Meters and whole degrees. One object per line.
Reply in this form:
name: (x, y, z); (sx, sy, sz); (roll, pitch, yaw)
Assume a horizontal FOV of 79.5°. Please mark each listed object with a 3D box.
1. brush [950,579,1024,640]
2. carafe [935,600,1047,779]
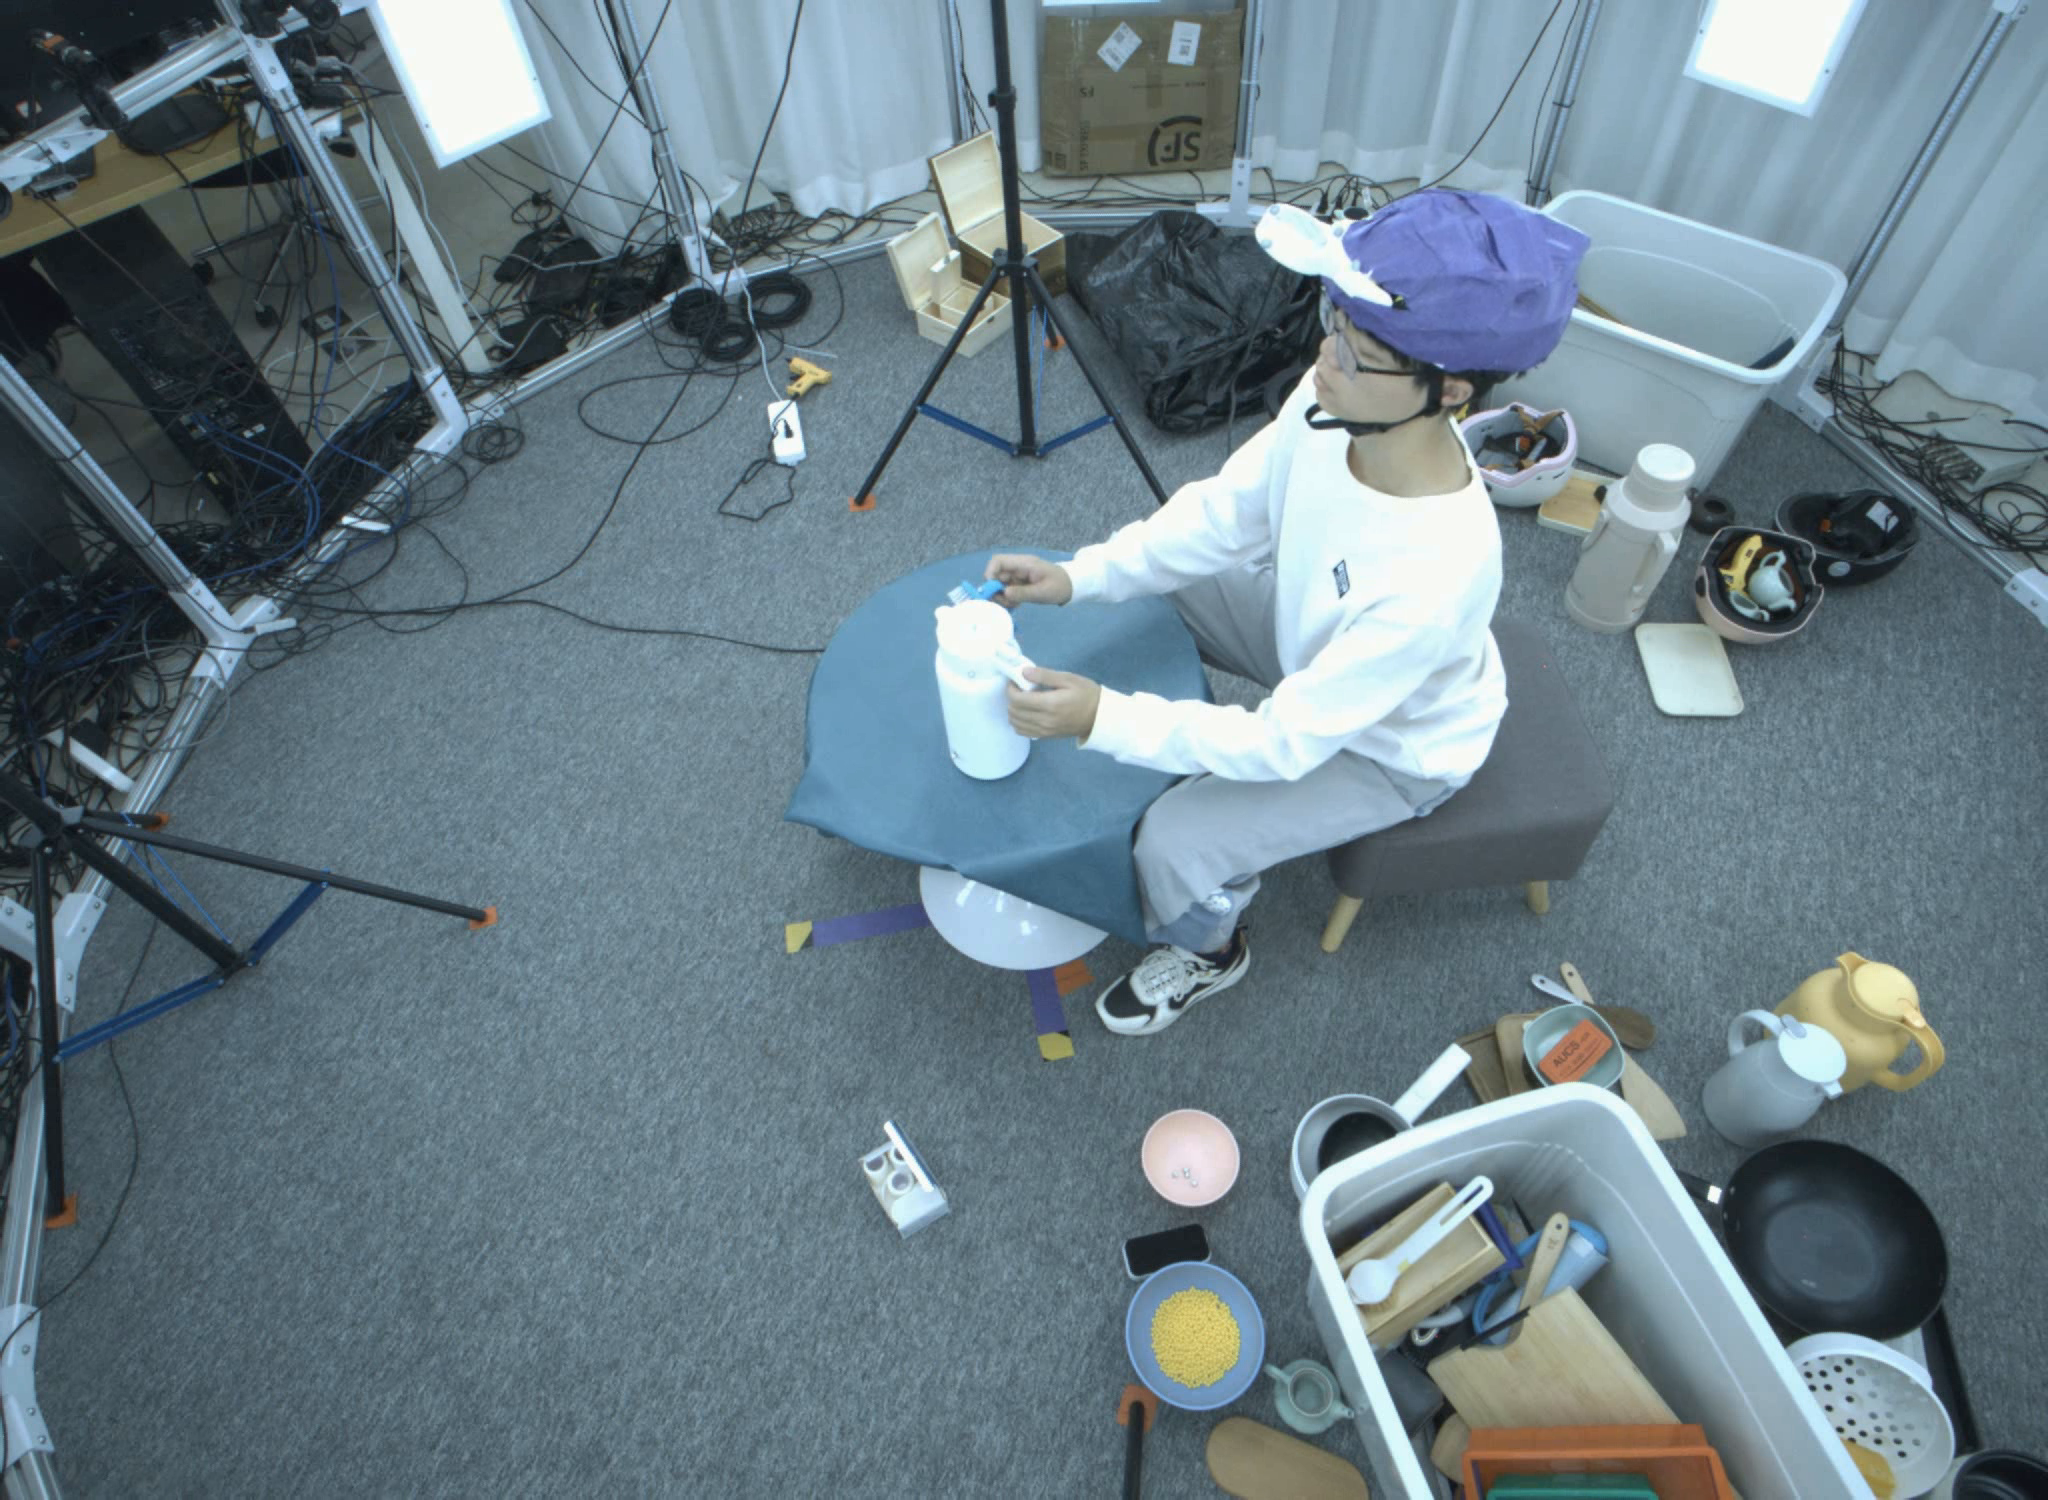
brush: (-0.043, -0.204, 1.729); (0.083, 0.144, 0.063); (43, 95, 23)
carafe: (-0.042, -0.072, 1.672); (0.170, 0.271, 0.124); (33, 61, 24)
